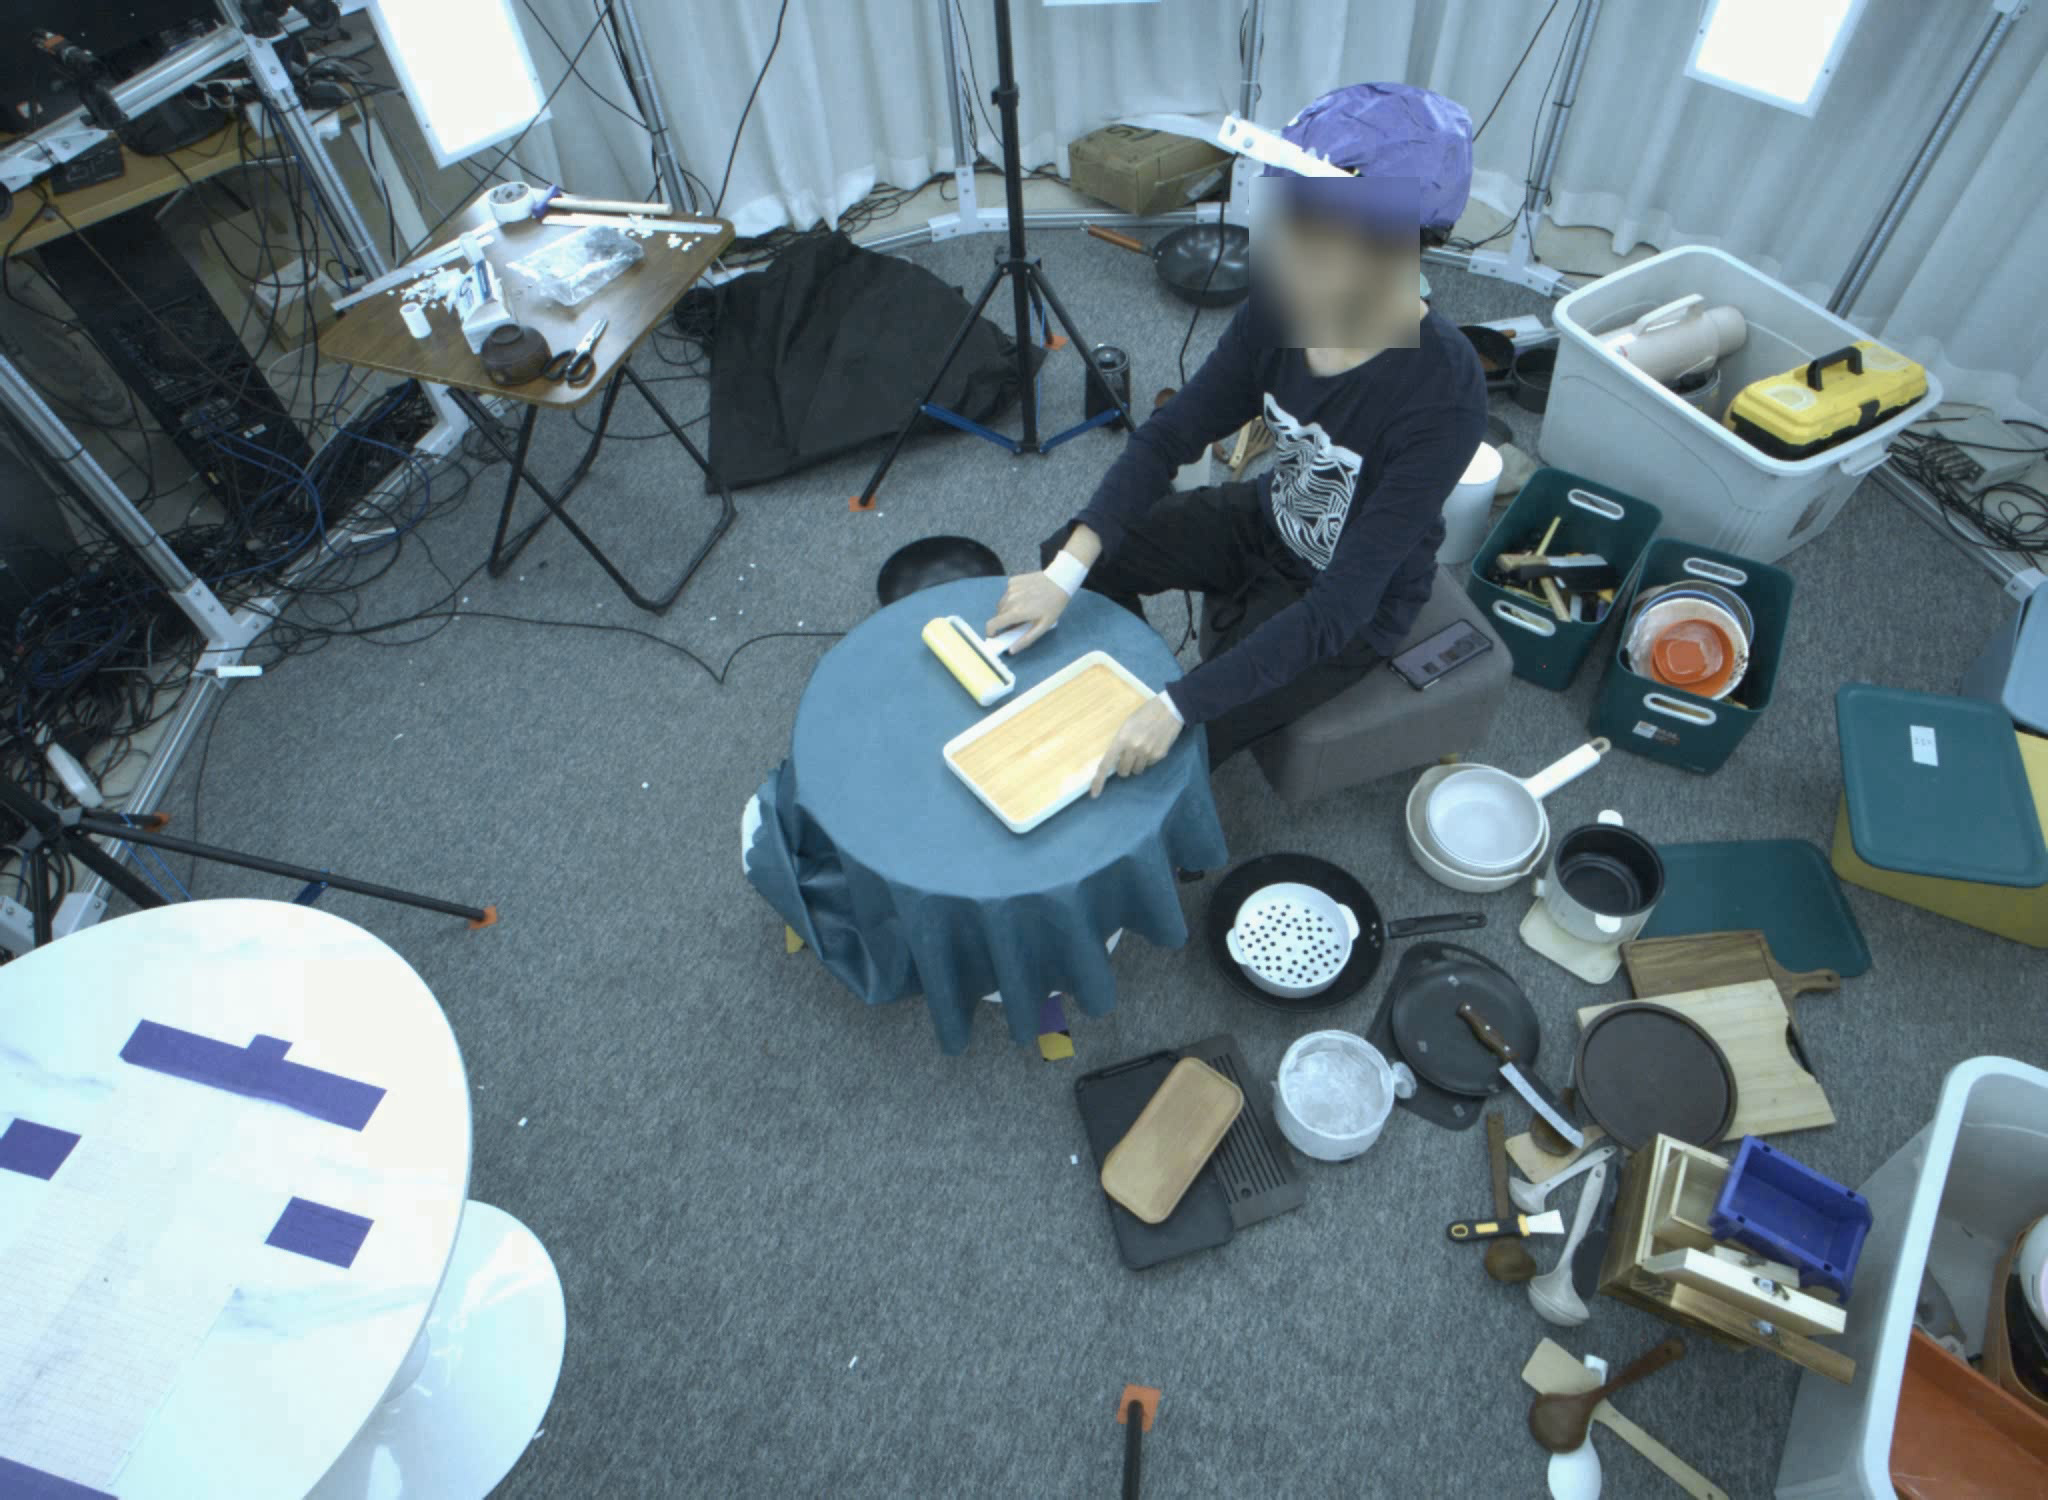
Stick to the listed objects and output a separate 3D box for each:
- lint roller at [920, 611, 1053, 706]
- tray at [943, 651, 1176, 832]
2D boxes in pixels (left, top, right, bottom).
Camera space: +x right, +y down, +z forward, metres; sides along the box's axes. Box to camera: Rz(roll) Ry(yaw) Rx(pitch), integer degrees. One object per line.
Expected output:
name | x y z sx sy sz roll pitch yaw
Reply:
lint roller | -0.037 -0.173 1.889 0.193 0.052 0.171 -34 61 -17
tray | 0.053 -0.018 1.781 0.303 0.028 0.187 -33 56 -20
